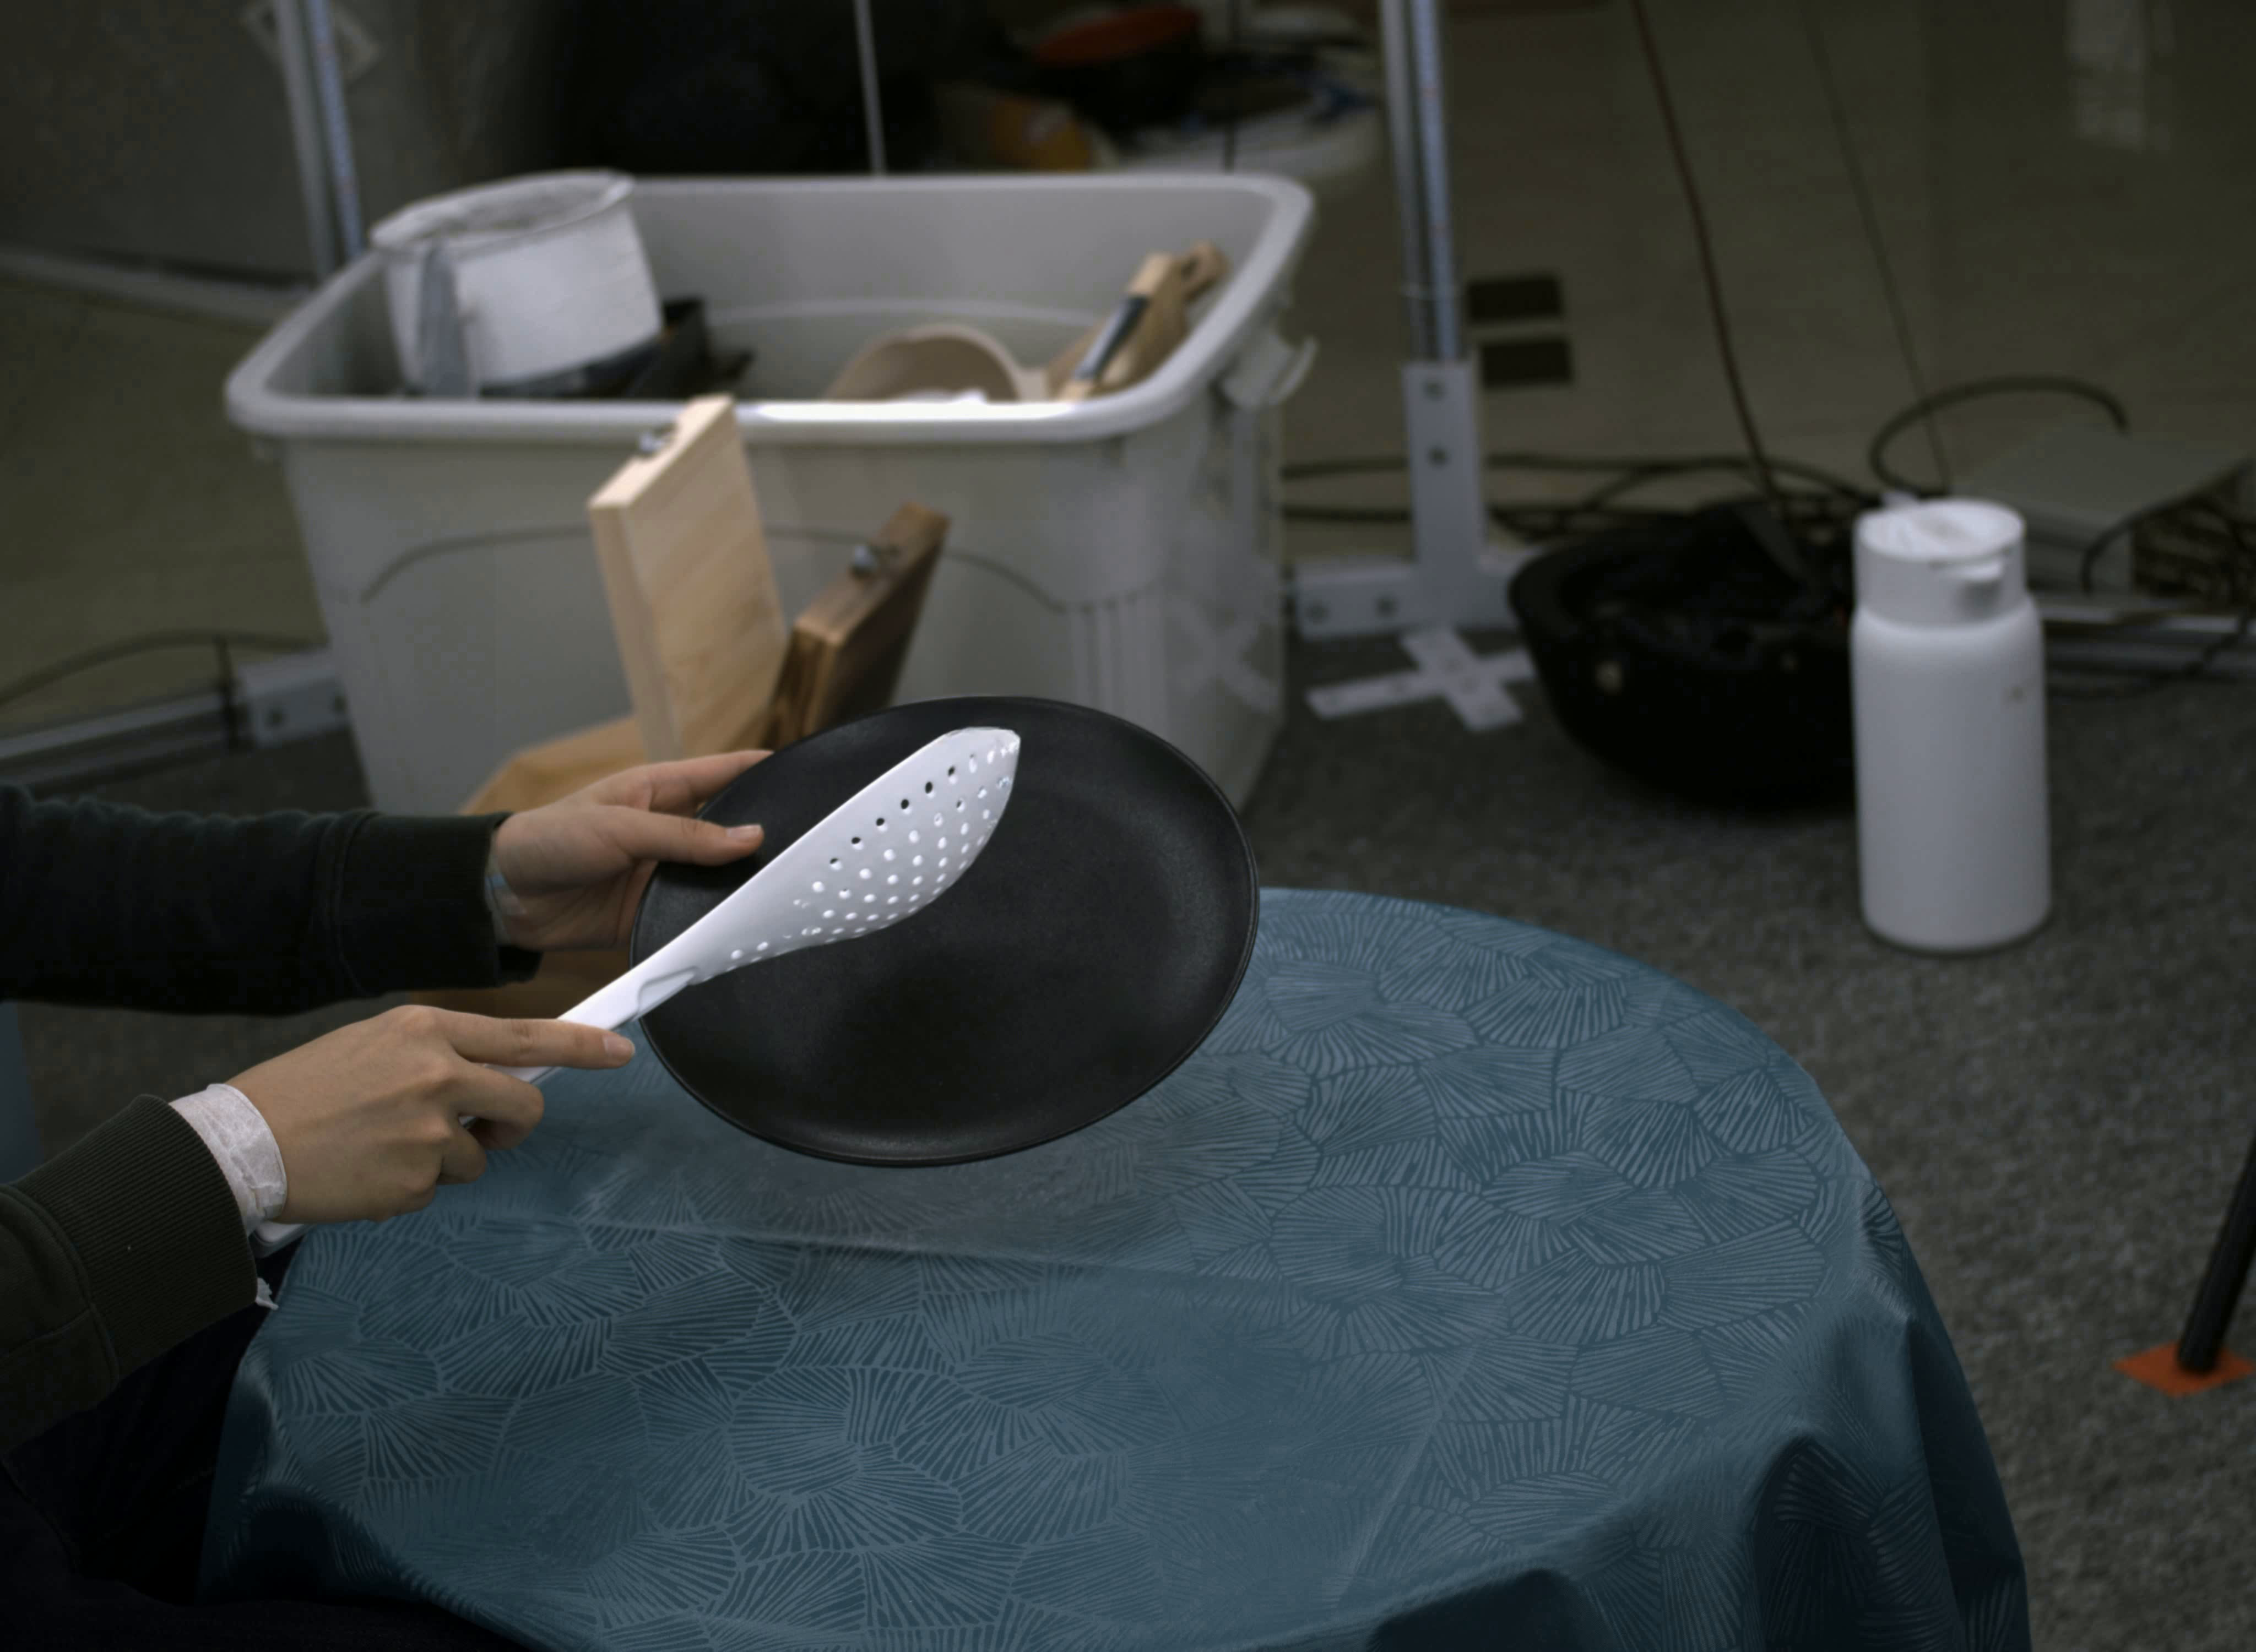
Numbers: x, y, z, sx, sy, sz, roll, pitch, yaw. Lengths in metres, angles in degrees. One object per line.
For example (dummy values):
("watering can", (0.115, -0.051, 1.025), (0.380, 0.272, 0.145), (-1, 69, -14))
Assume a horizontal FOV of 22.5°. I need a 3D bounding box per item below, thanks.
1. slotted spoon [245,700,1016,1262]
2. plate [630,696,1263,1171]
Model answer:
("slotted spoon", (-0.173, 0.056, 2.046), (0.347, 0.045, 0.137), (-29, -9, -24))
("plate", (-0.068, 0.044, 2.165), (0.244, 0.024, 0.240), (-5, 47, 5))
